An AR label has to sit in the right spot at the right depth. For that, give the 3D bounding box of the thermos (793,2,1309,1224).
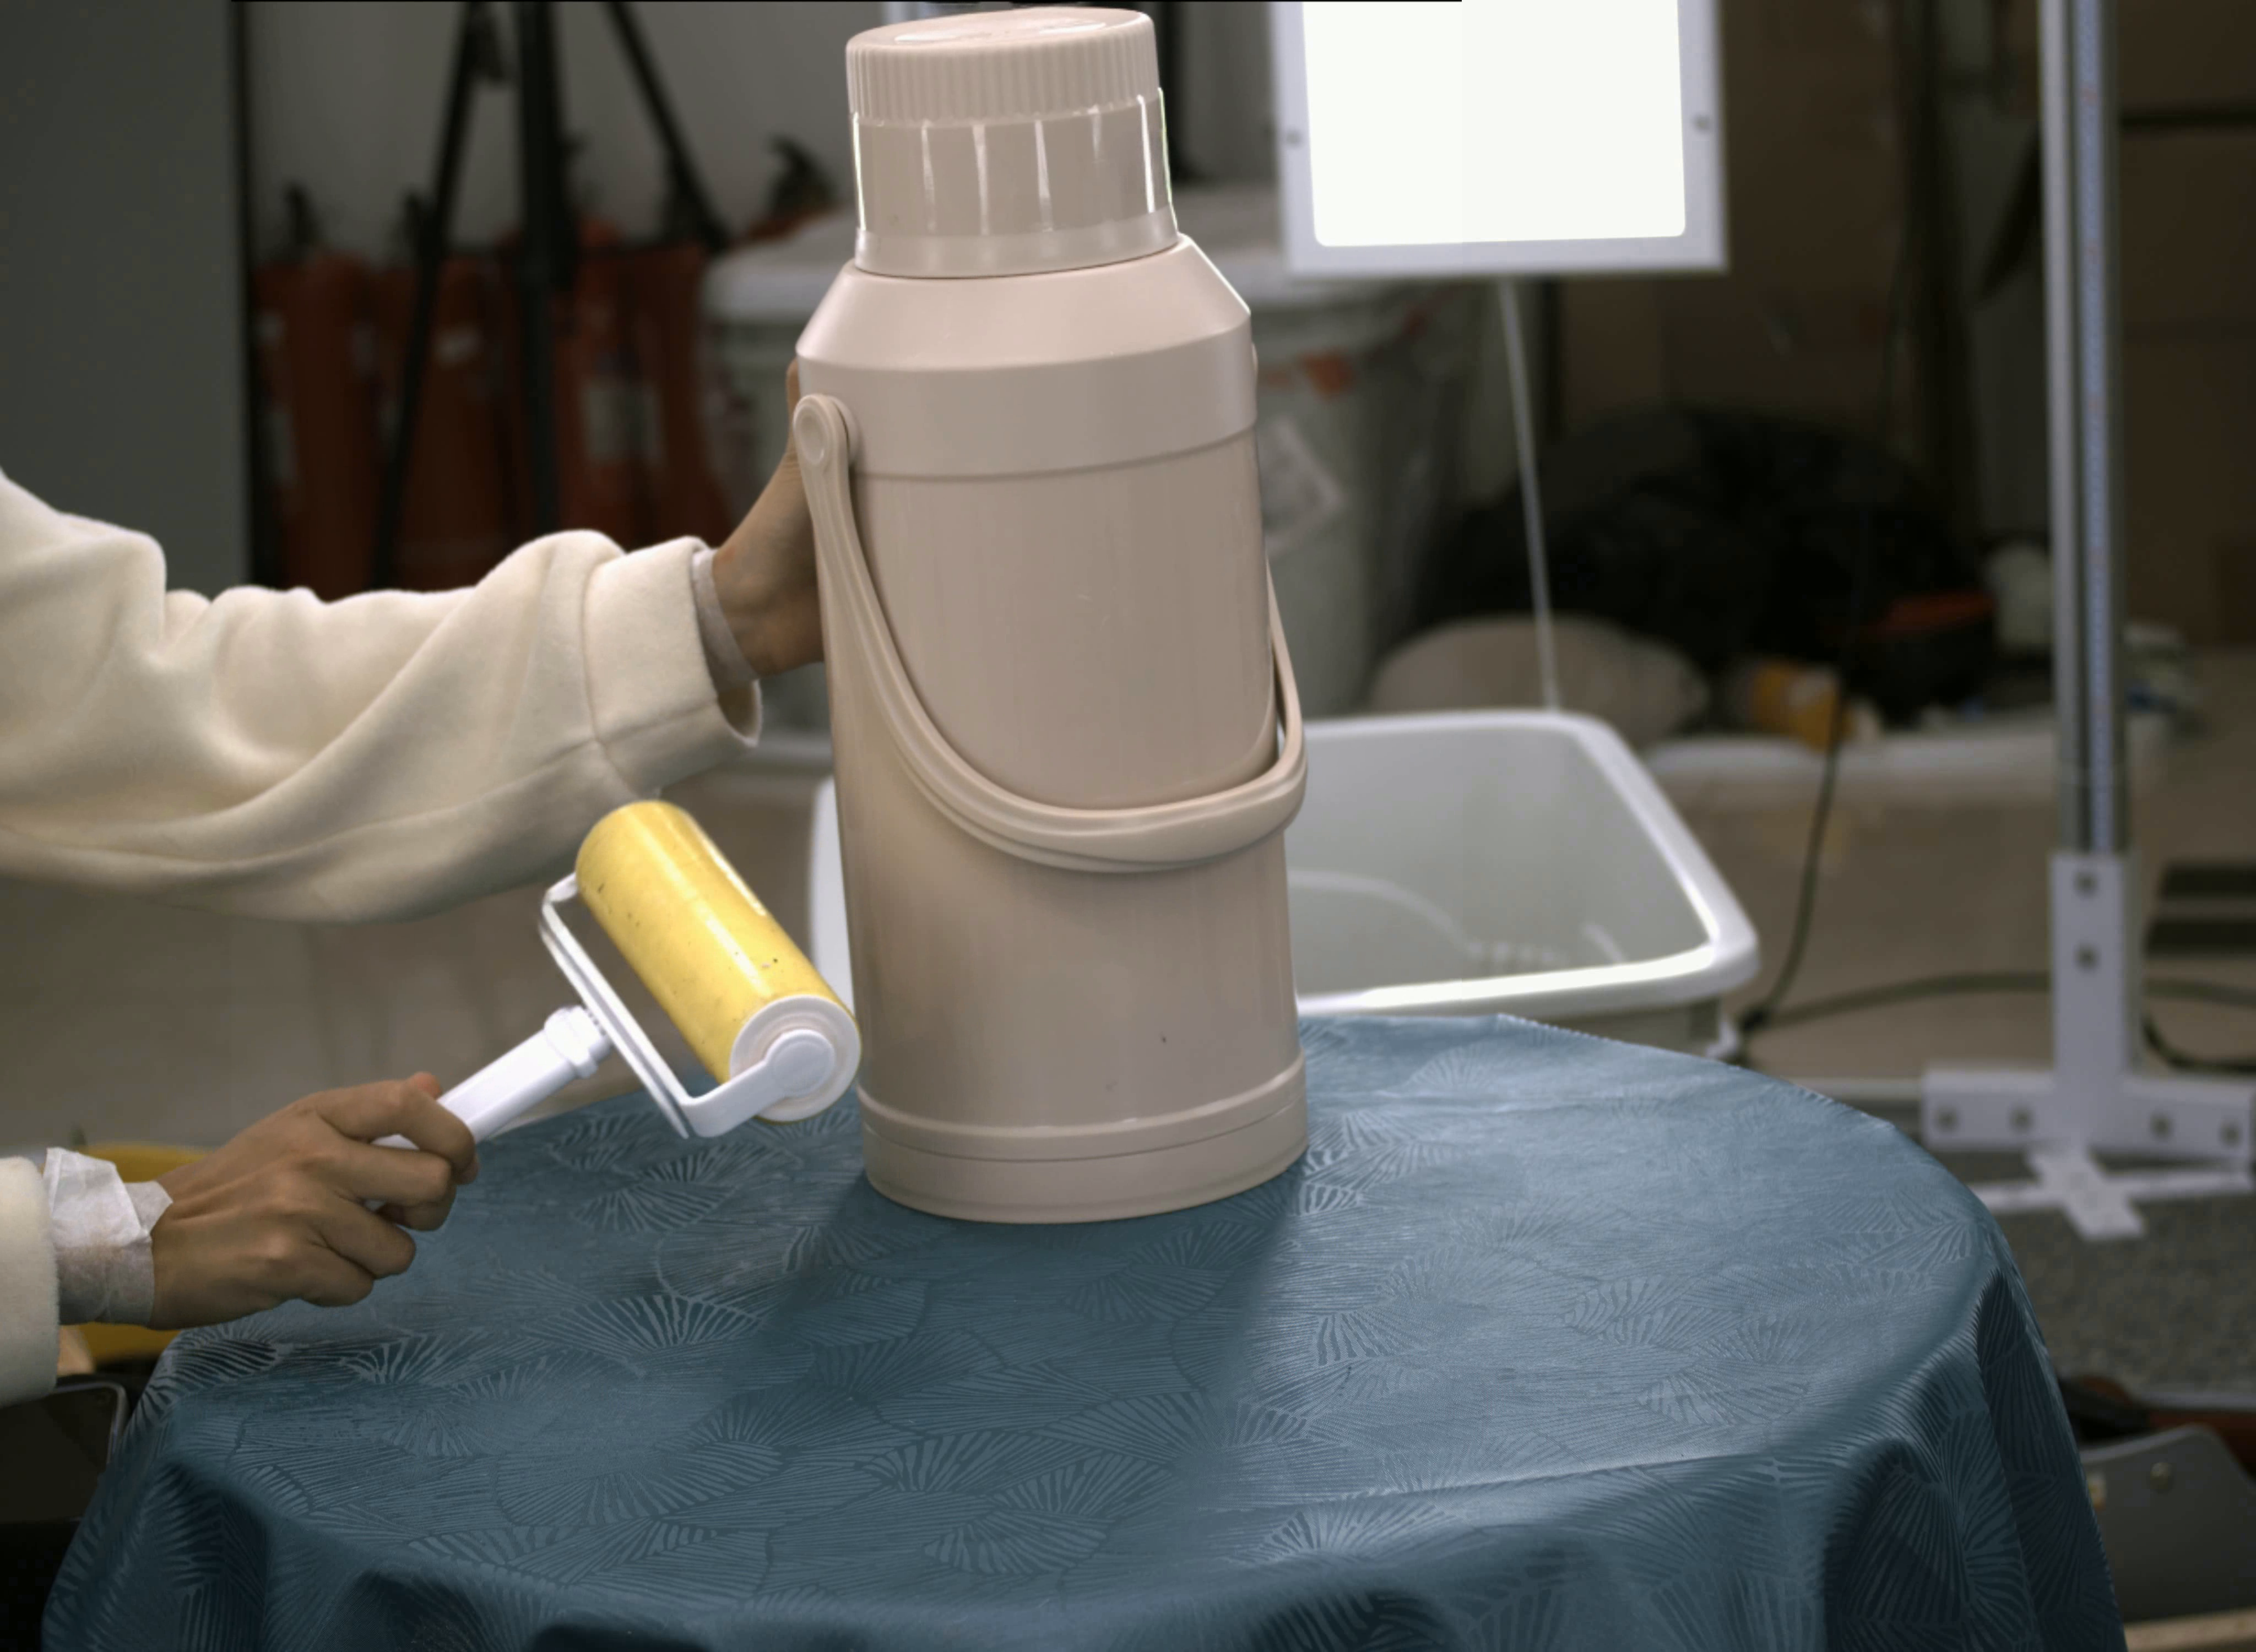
[{"bbox_3d":[-0.035,-0.077,1.909,0.171,0.408,0.211,-14,16,-31],"label":"thermos"}]

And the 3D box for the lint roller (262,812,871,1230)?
[{"bbox_3d":[-0.198,0.073,1.805,0.189,0.051,0.176,-22,28,-14],"label":"lint roller"}]
